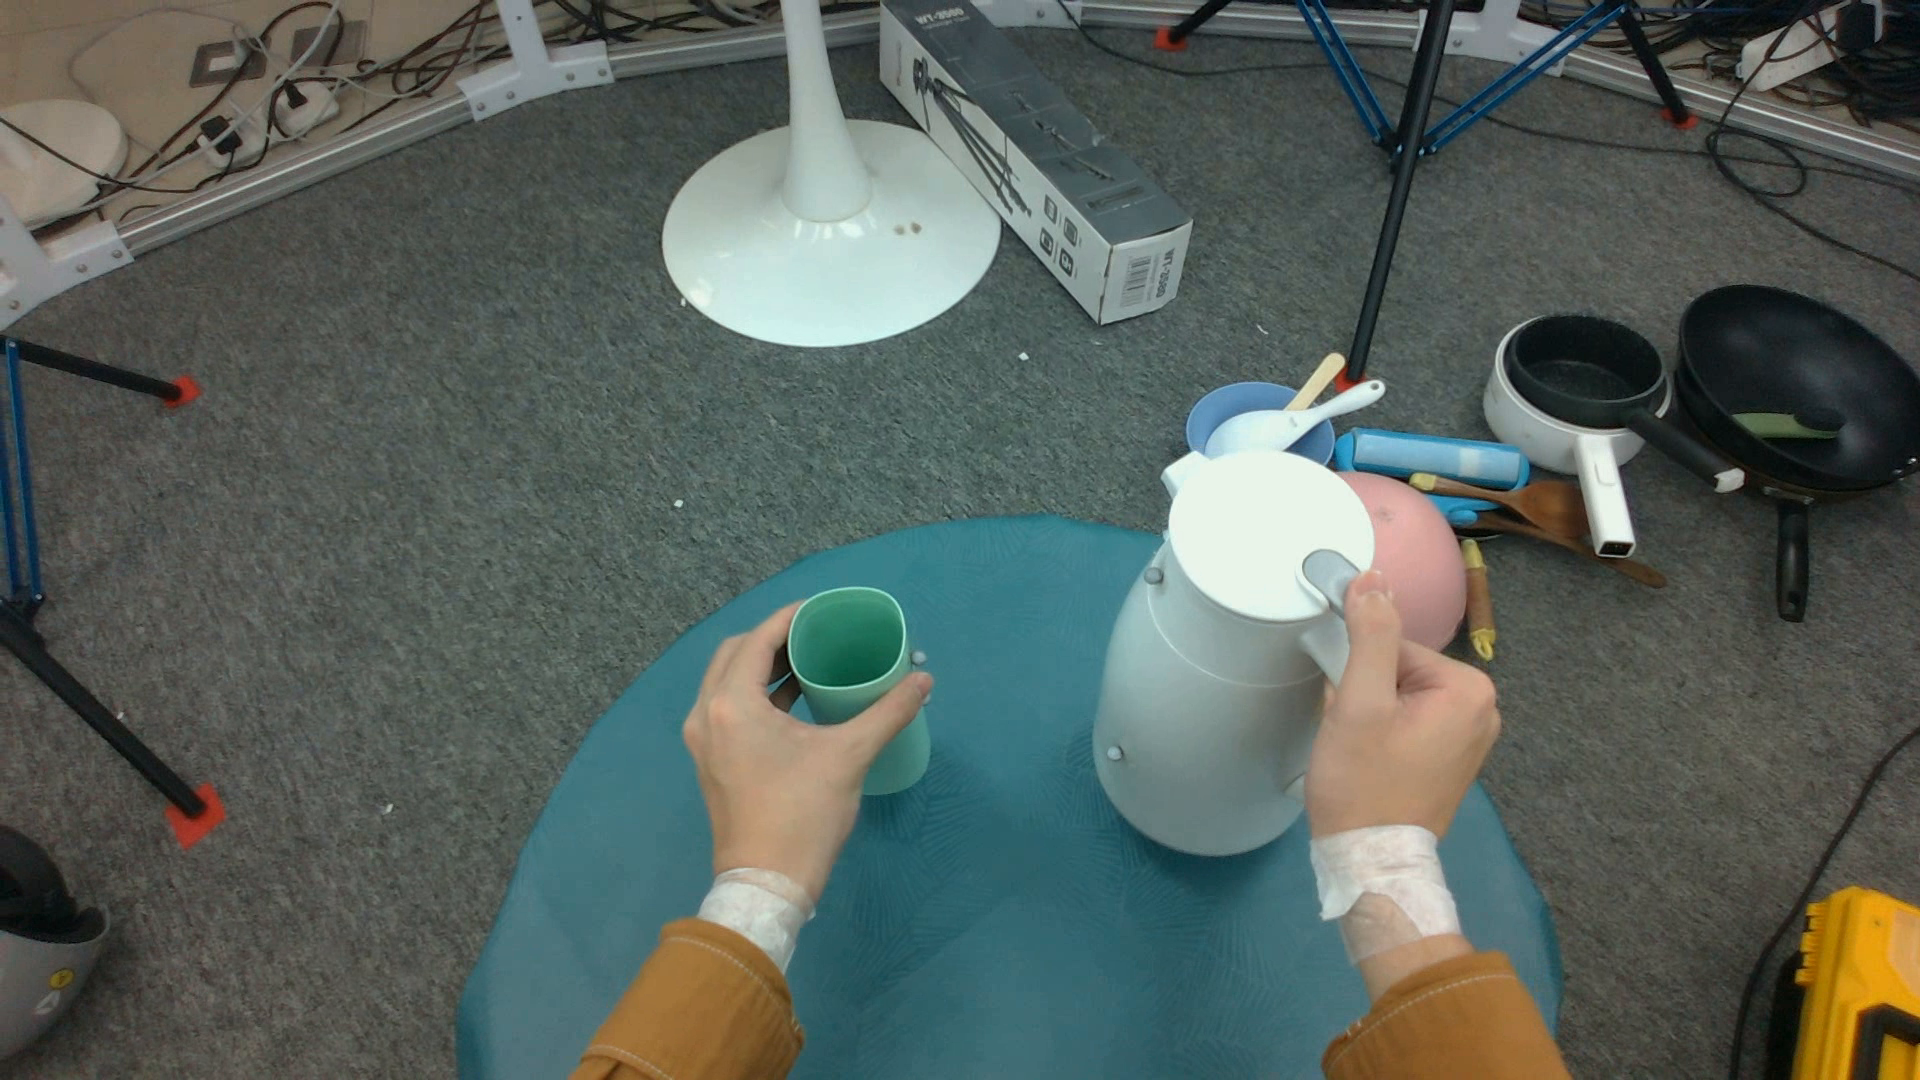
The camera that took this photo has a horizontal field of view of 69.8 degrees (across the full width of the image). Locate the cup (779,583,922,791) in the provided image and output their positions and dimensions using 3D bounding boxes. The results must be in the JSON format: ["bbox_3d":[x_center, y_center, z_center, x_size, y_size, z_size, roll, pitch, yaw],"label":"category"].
[{"bbox_3d":[-0.058,0.087,0.774,0.067,0.132,0.067,-3,54,4],"label":"cup"}]

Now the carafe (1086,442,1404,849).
[{"bbox_3d":[0.151,0.067,0.708,0.133,0.247,0.168,-32,63,-19],"label":"carafe"}]
